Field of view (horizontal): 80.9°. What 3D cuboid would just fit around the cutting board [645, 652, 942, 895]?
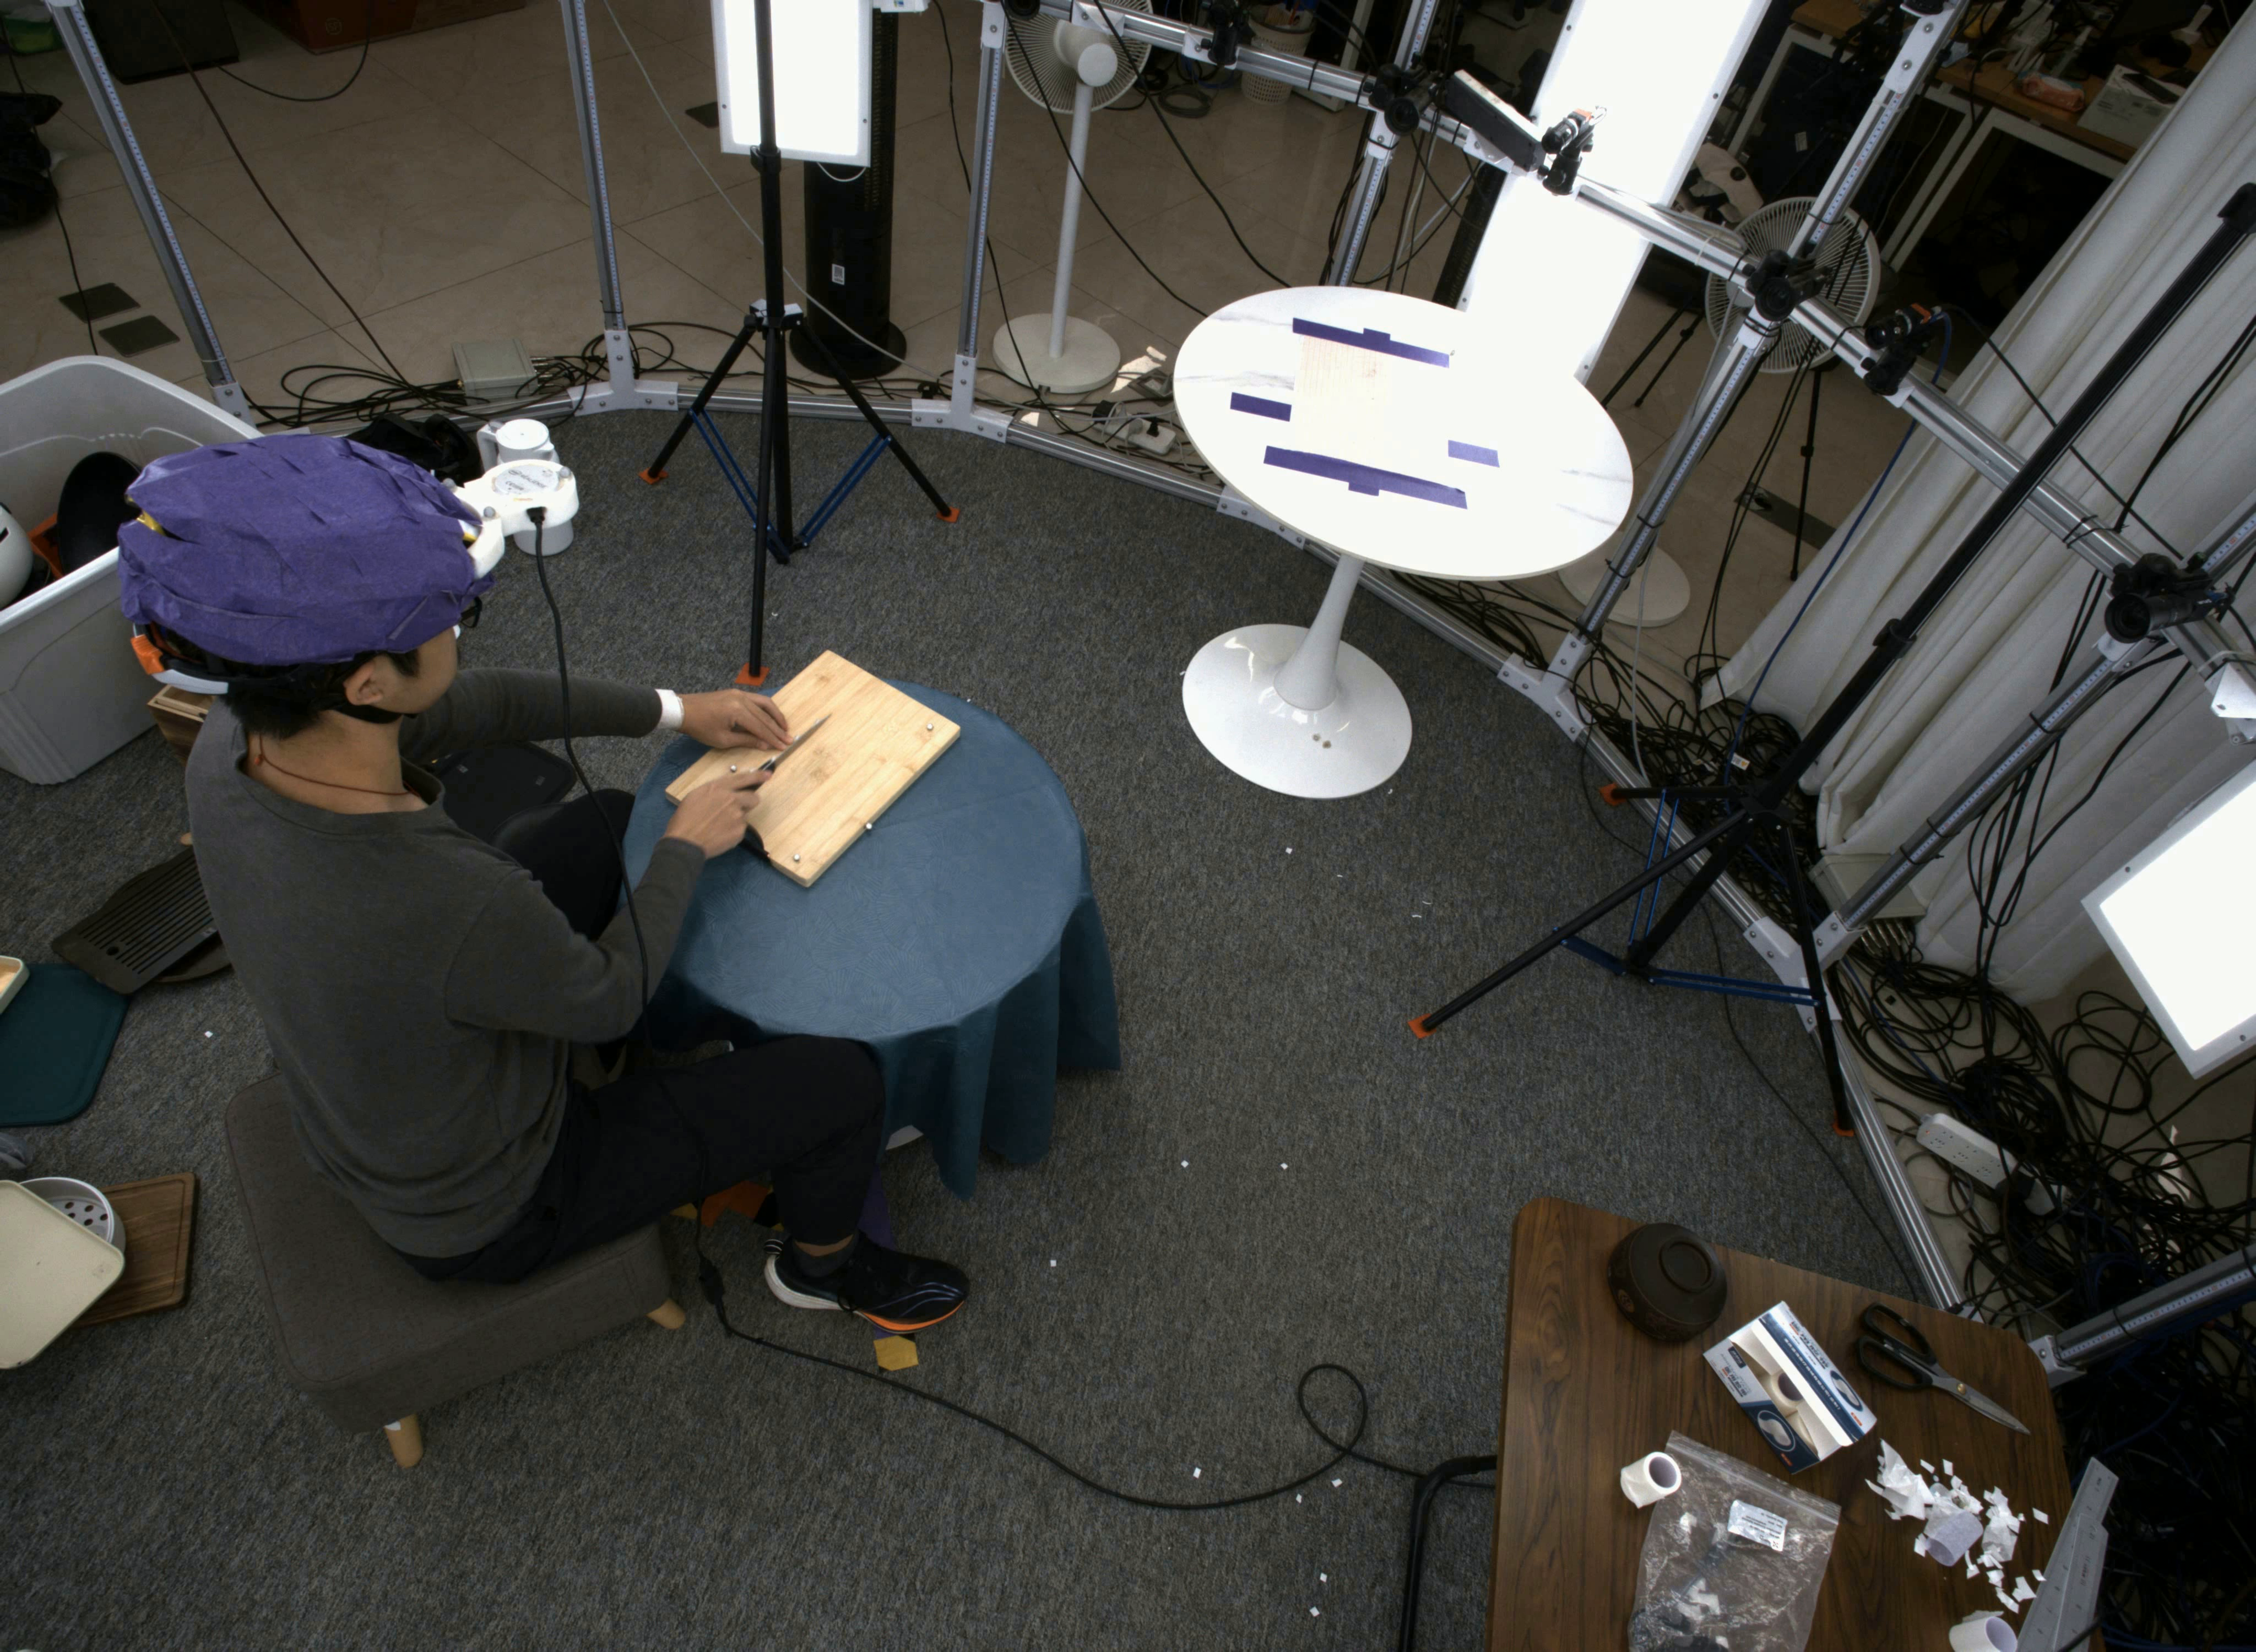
[{"bbox_3d":[-0.451,-0.083,1.780,0.246,0.024,0.347,29,53,9],"label":"cutting board"}]

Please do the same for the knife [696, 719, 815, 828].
[{"bbox_3d":[-0.484,-0.077,1.695,0.016,0.025,0.237,34,49,4],"label":"knife"}]
